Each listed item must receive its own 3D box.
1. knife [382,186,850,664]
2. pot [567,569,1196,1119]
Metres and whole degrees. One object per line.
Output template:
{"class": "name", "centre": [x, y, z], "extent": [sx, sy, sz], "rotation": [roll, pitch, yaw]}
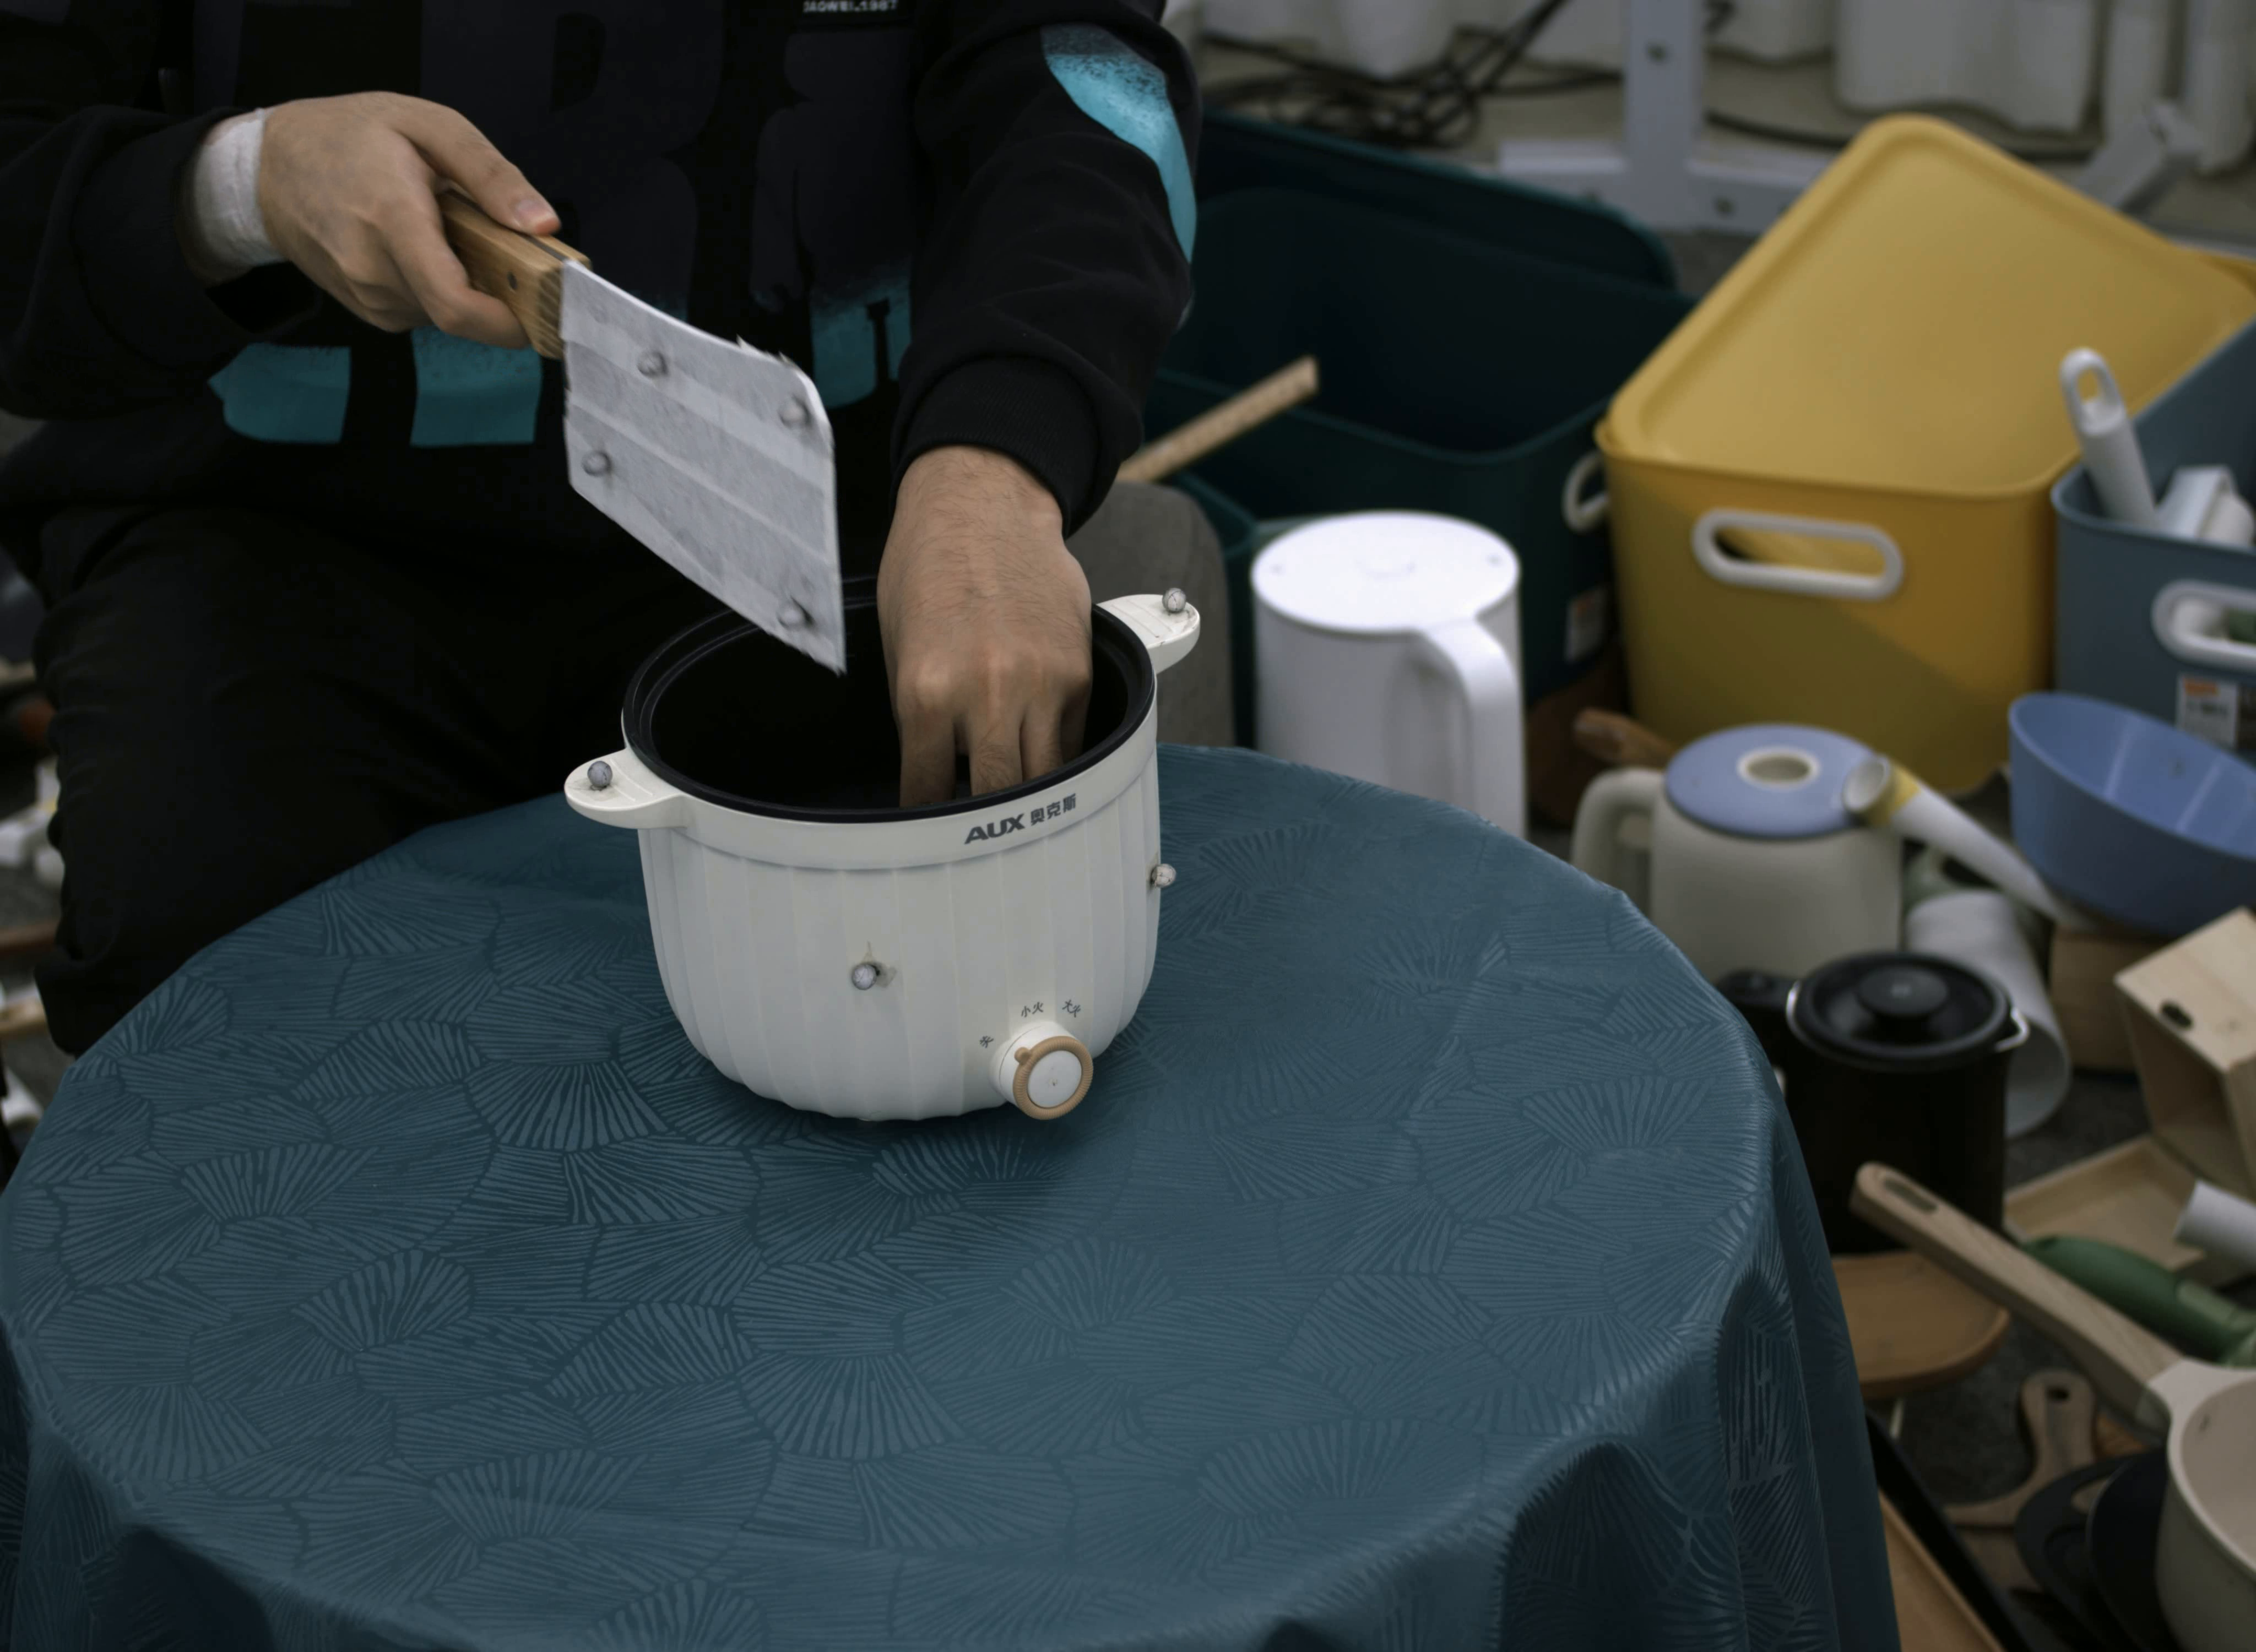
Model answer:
{"class": "knife", "centre": [-0.174, -0.152, 1.912], "extent": [0.022, 0.112, 0.317], "rotation": [-14, 33, -30]}
{"class": "pot", "centre": [-0.074, 0.013, 1.930], "extent": [0.242, 0.141, 0.191], "rotation": [-19, 28, -26]}
